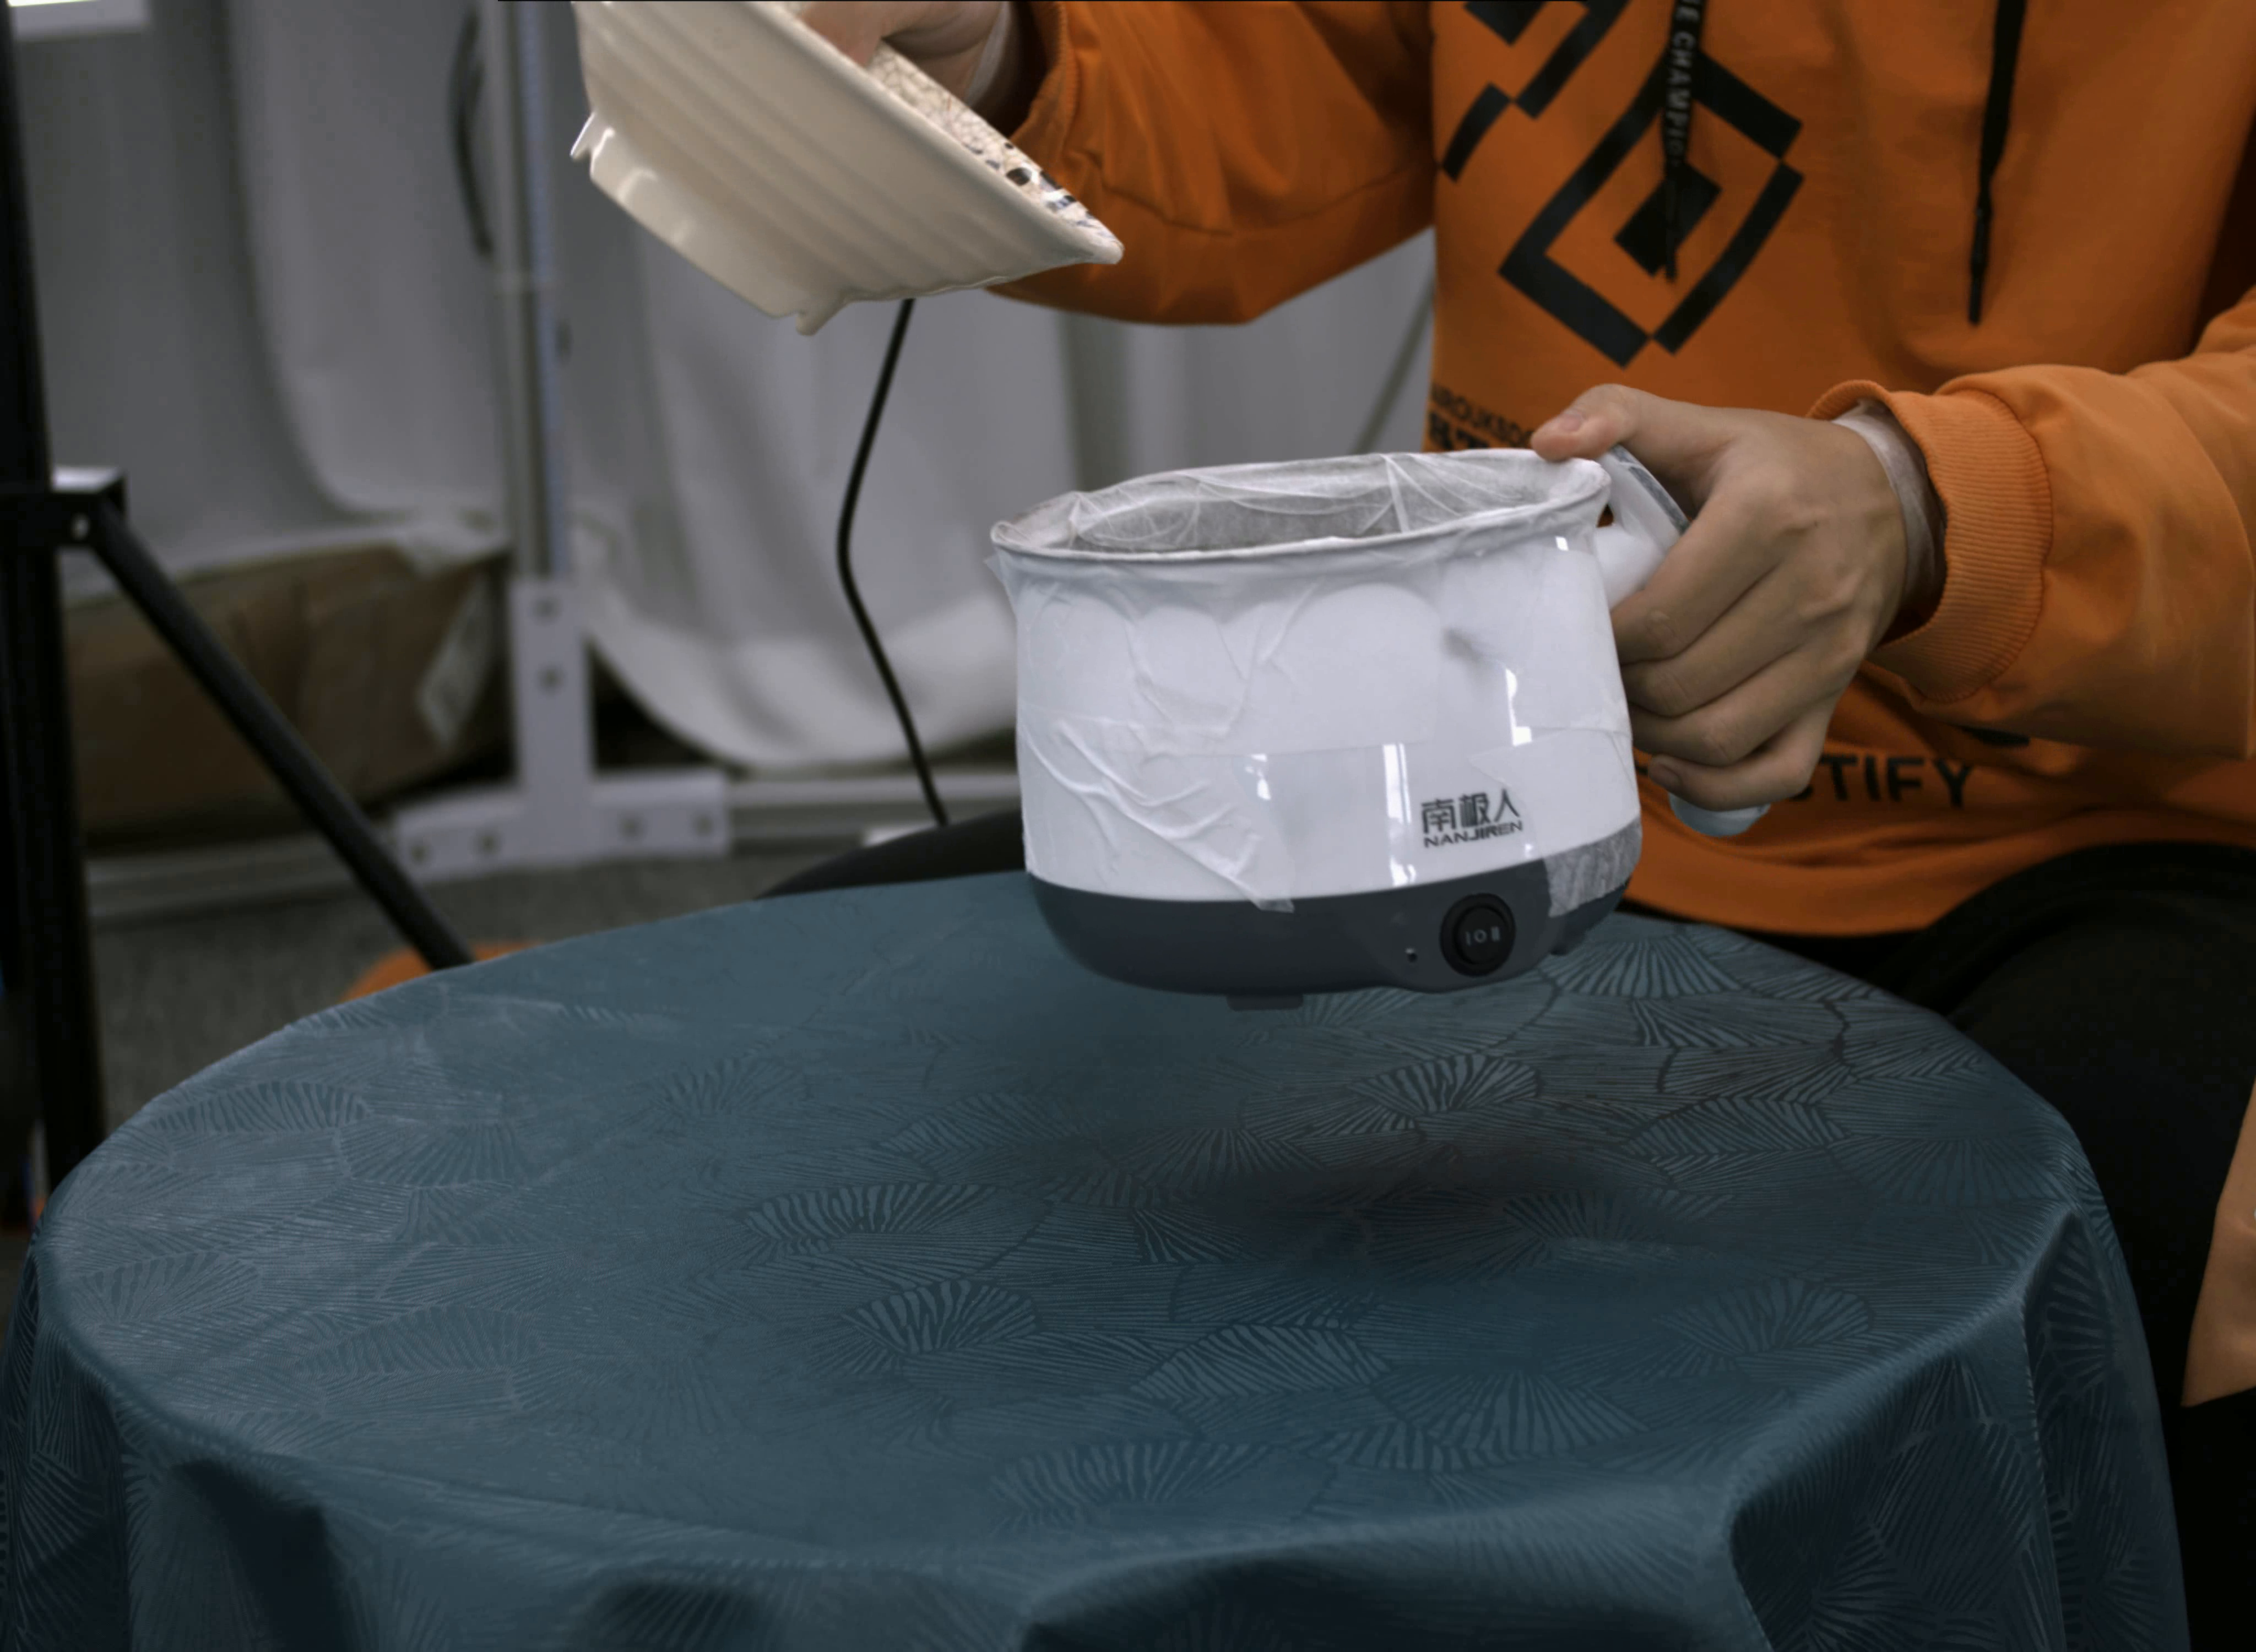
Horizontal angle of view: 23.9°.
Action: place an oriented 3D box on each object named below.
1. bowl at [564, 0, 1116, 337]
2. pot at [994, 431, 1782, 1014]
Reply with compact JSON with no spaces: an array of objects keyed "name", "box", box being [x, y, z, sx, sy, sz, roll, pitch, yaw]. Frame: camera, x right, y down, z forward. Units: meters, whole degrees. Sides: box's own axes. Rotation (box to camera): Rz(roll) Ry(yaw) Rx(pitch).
[{"name":"bowl","box":[-0.105,-0.198,1.543,0.203,0.078,0.204,38,5,-6]},{"name":"pot","box":[0.080,-0.035,1.527,0.229,0.137,0.182,-11,12,-24]}]
